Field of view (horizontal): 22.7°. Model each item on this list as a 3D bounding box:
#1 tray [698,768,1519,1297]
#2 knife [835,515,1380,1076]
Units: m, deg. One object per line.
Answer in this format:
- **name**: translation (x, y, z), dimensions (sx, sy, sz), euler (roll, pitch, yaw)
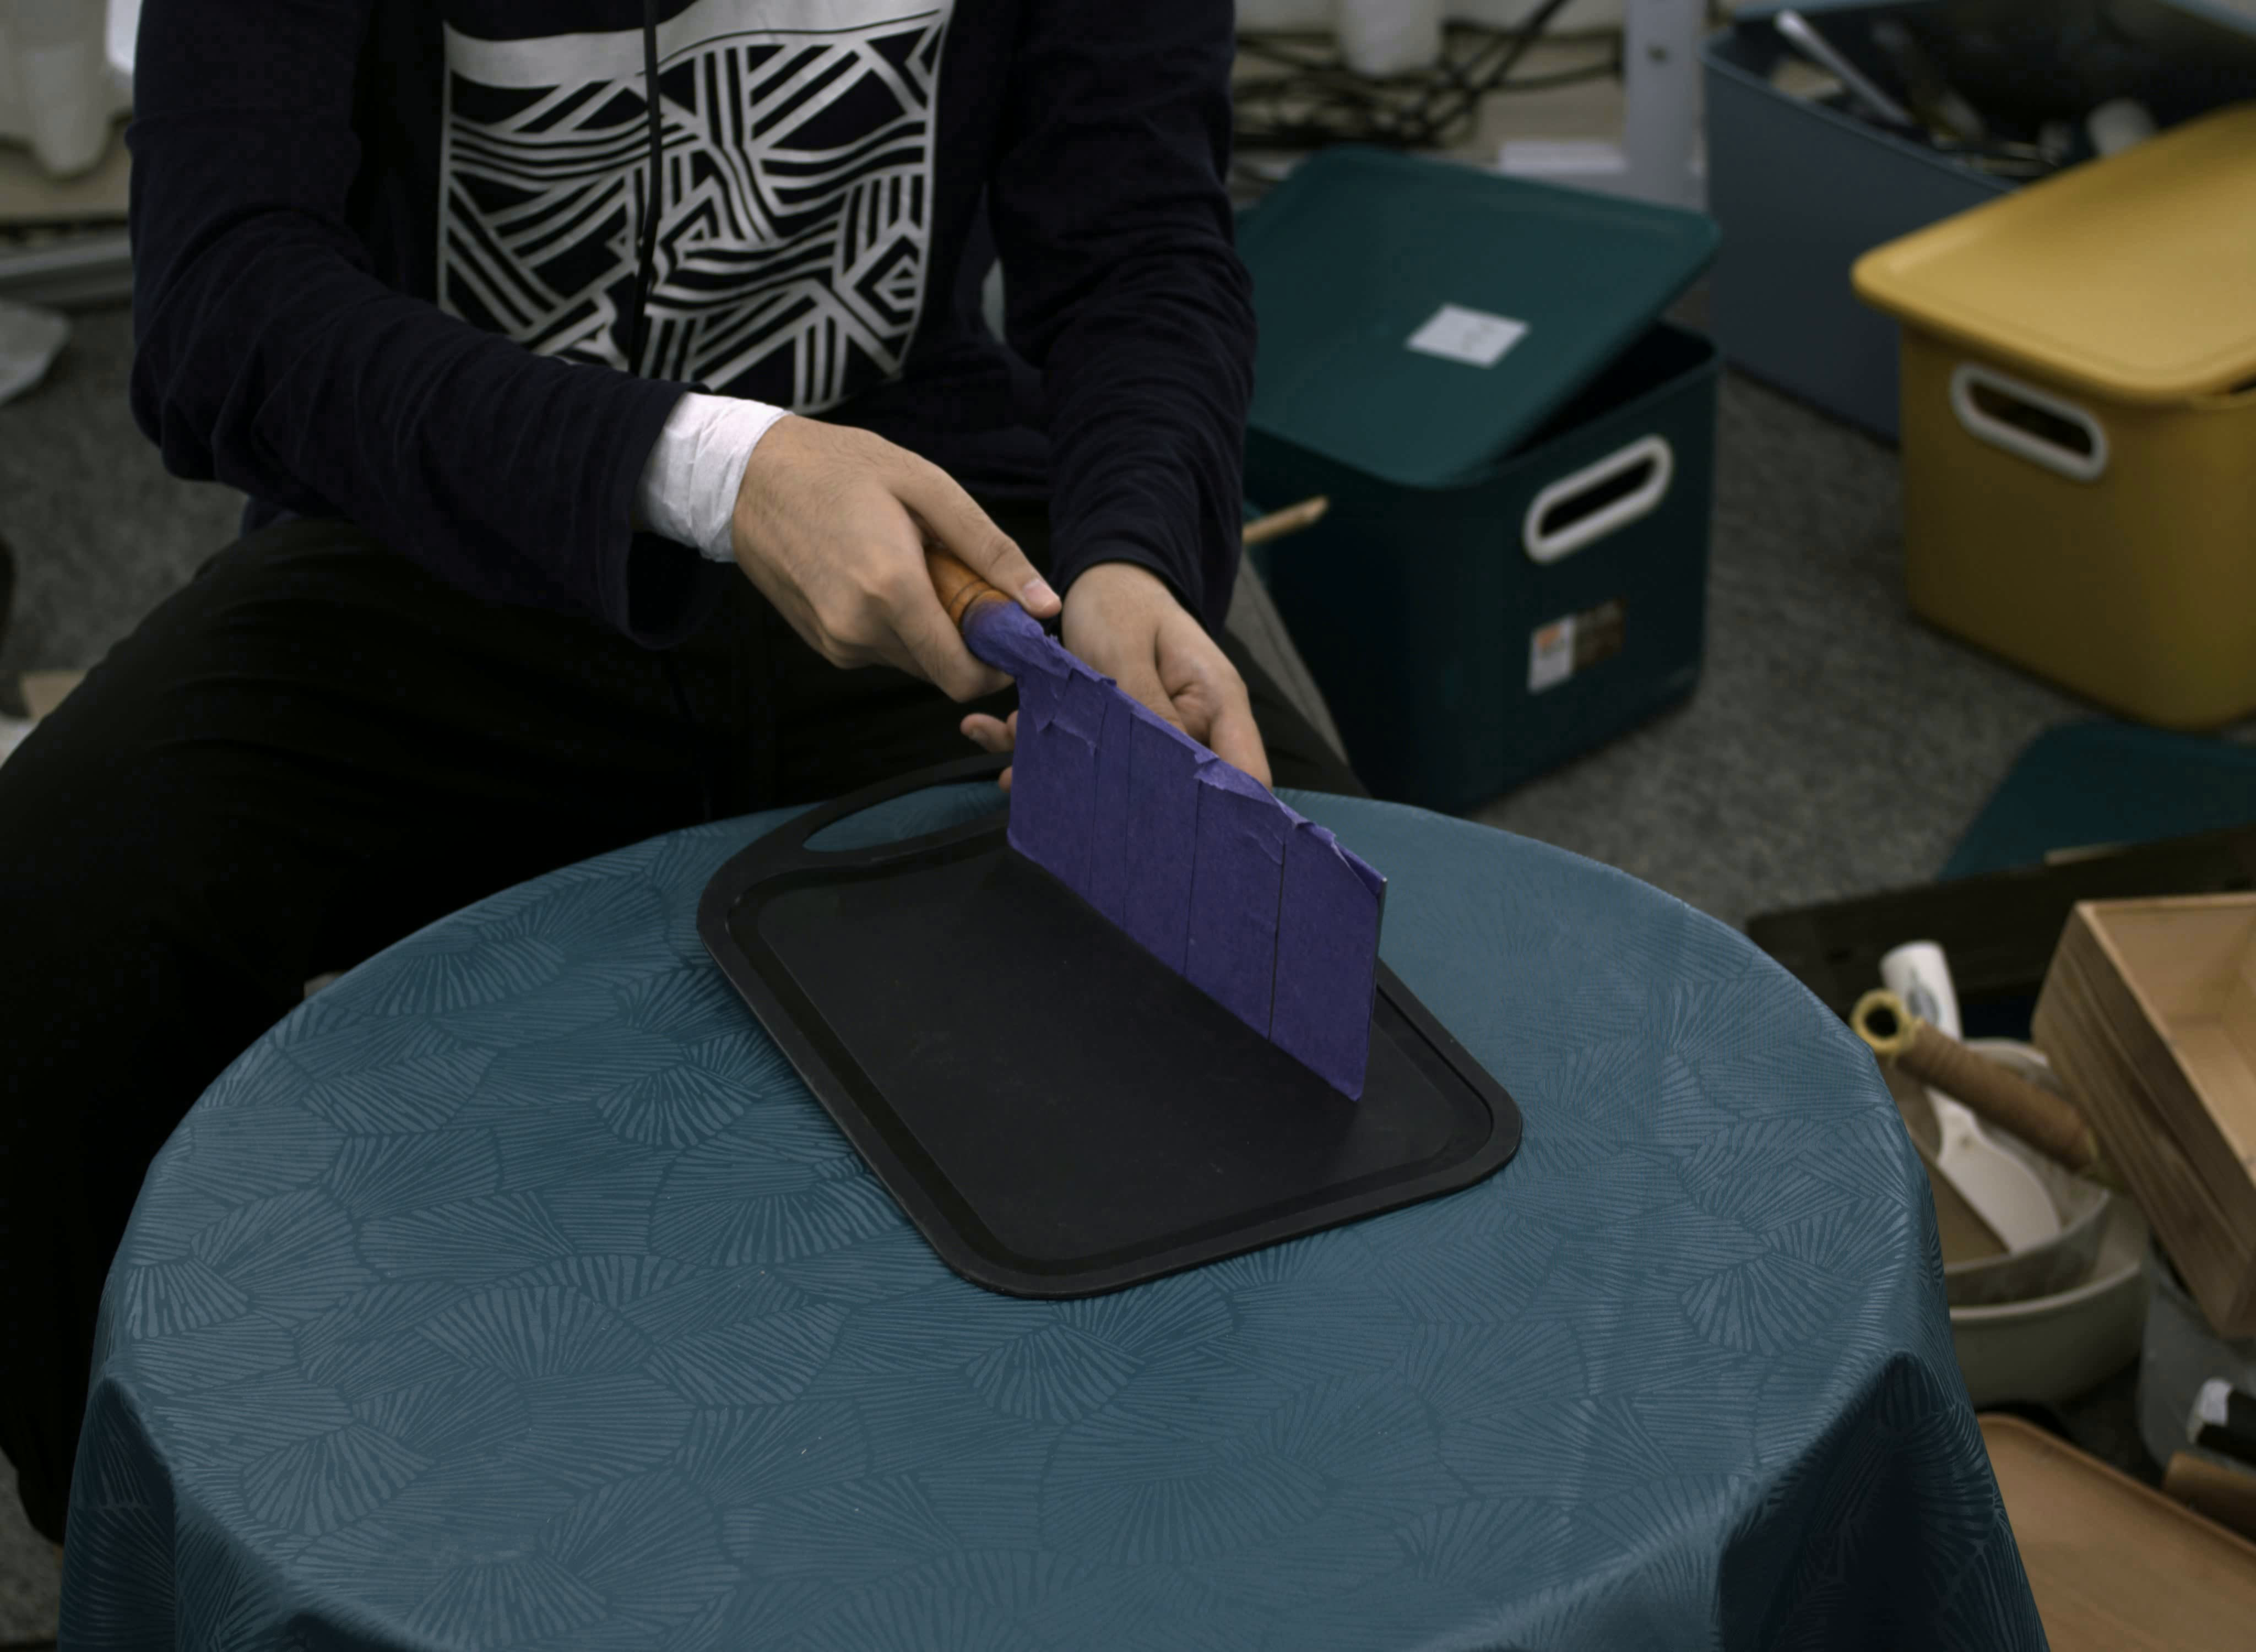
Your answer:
- **tray**: translation (-0.016, 0.061, 1.955), dimensions (0.212, 0.009, 0.328), euler (-14, 33, -20)
- **knife**: translation (-0.012, -0.010, 1.980), dimensions (0.032, 0.103, 0.316), euler (-11, 31, -33)
